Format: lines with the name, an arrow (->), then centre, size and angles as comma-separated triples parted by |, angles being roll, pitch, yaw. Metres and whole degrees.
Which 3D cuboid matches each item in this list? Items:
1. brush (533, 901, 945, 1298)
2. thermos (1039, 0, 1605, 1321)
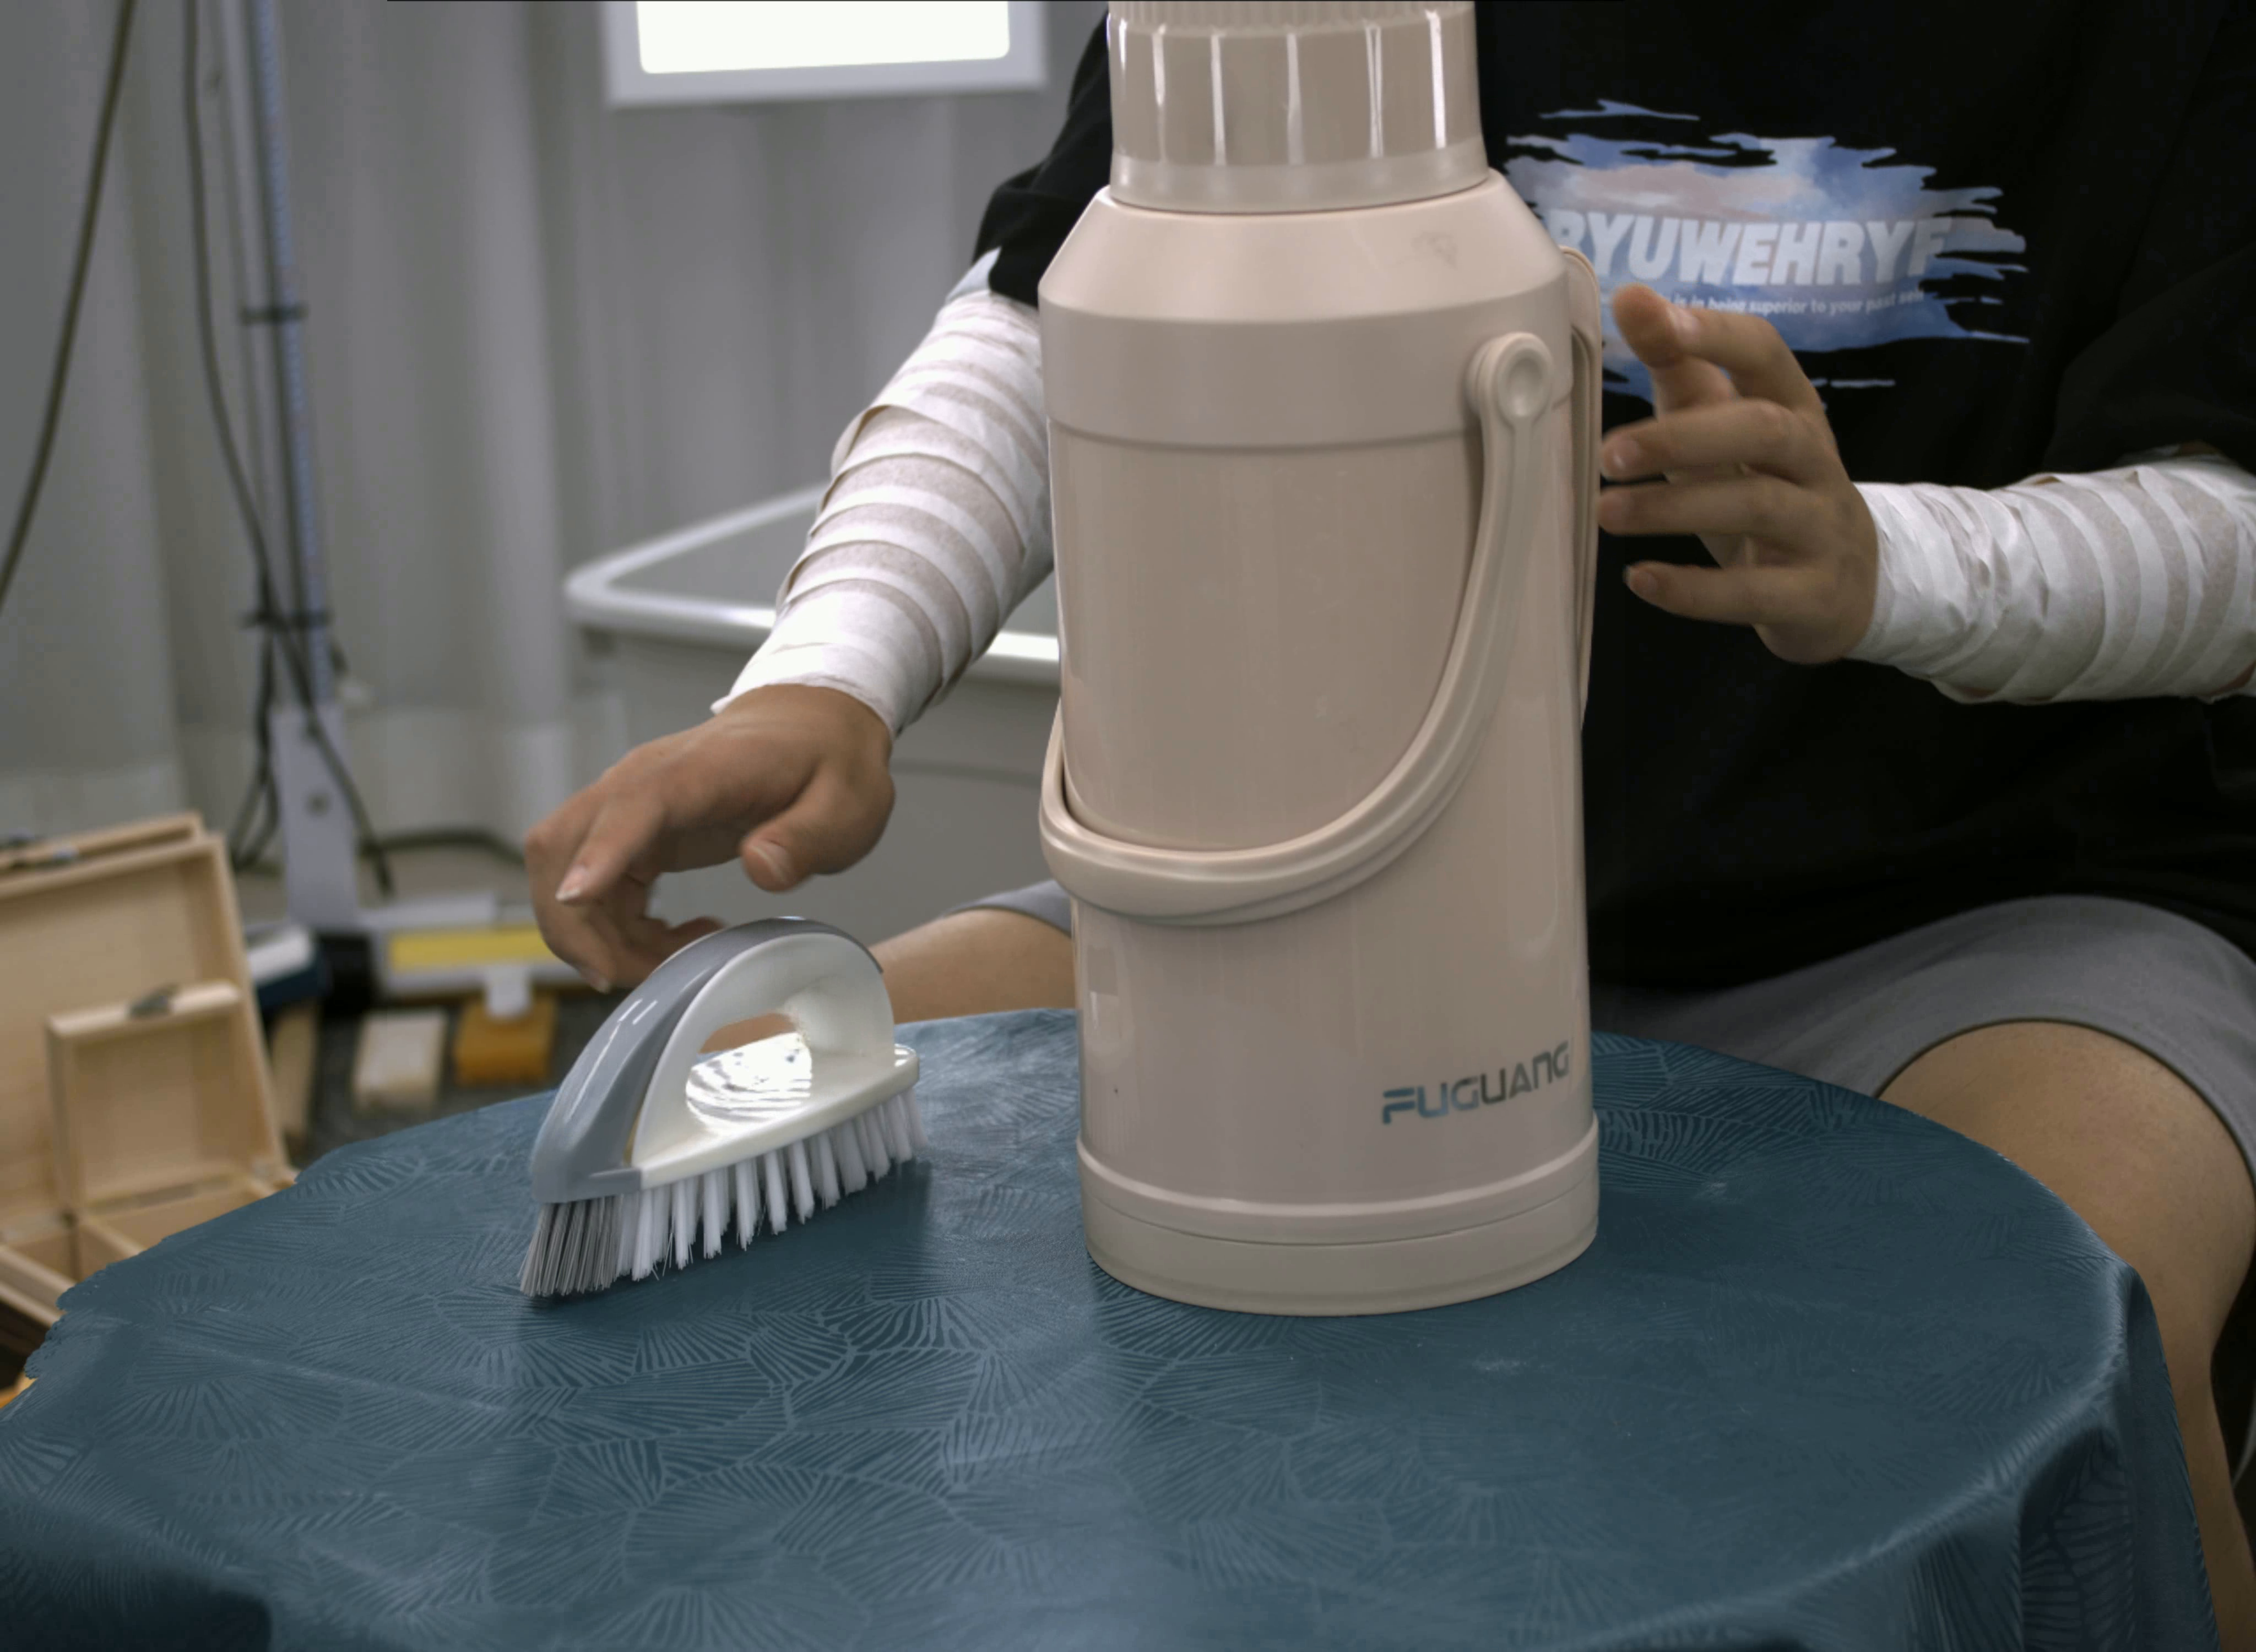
brush -> -0.128, 0.079, 1.689 | 0.061, 0.094, 0.175 | 4, 18, 35
thermos -> 0.067, -0.071, 1.631 | 0.206, 0.405, 0.176 | -15, 17, -42
